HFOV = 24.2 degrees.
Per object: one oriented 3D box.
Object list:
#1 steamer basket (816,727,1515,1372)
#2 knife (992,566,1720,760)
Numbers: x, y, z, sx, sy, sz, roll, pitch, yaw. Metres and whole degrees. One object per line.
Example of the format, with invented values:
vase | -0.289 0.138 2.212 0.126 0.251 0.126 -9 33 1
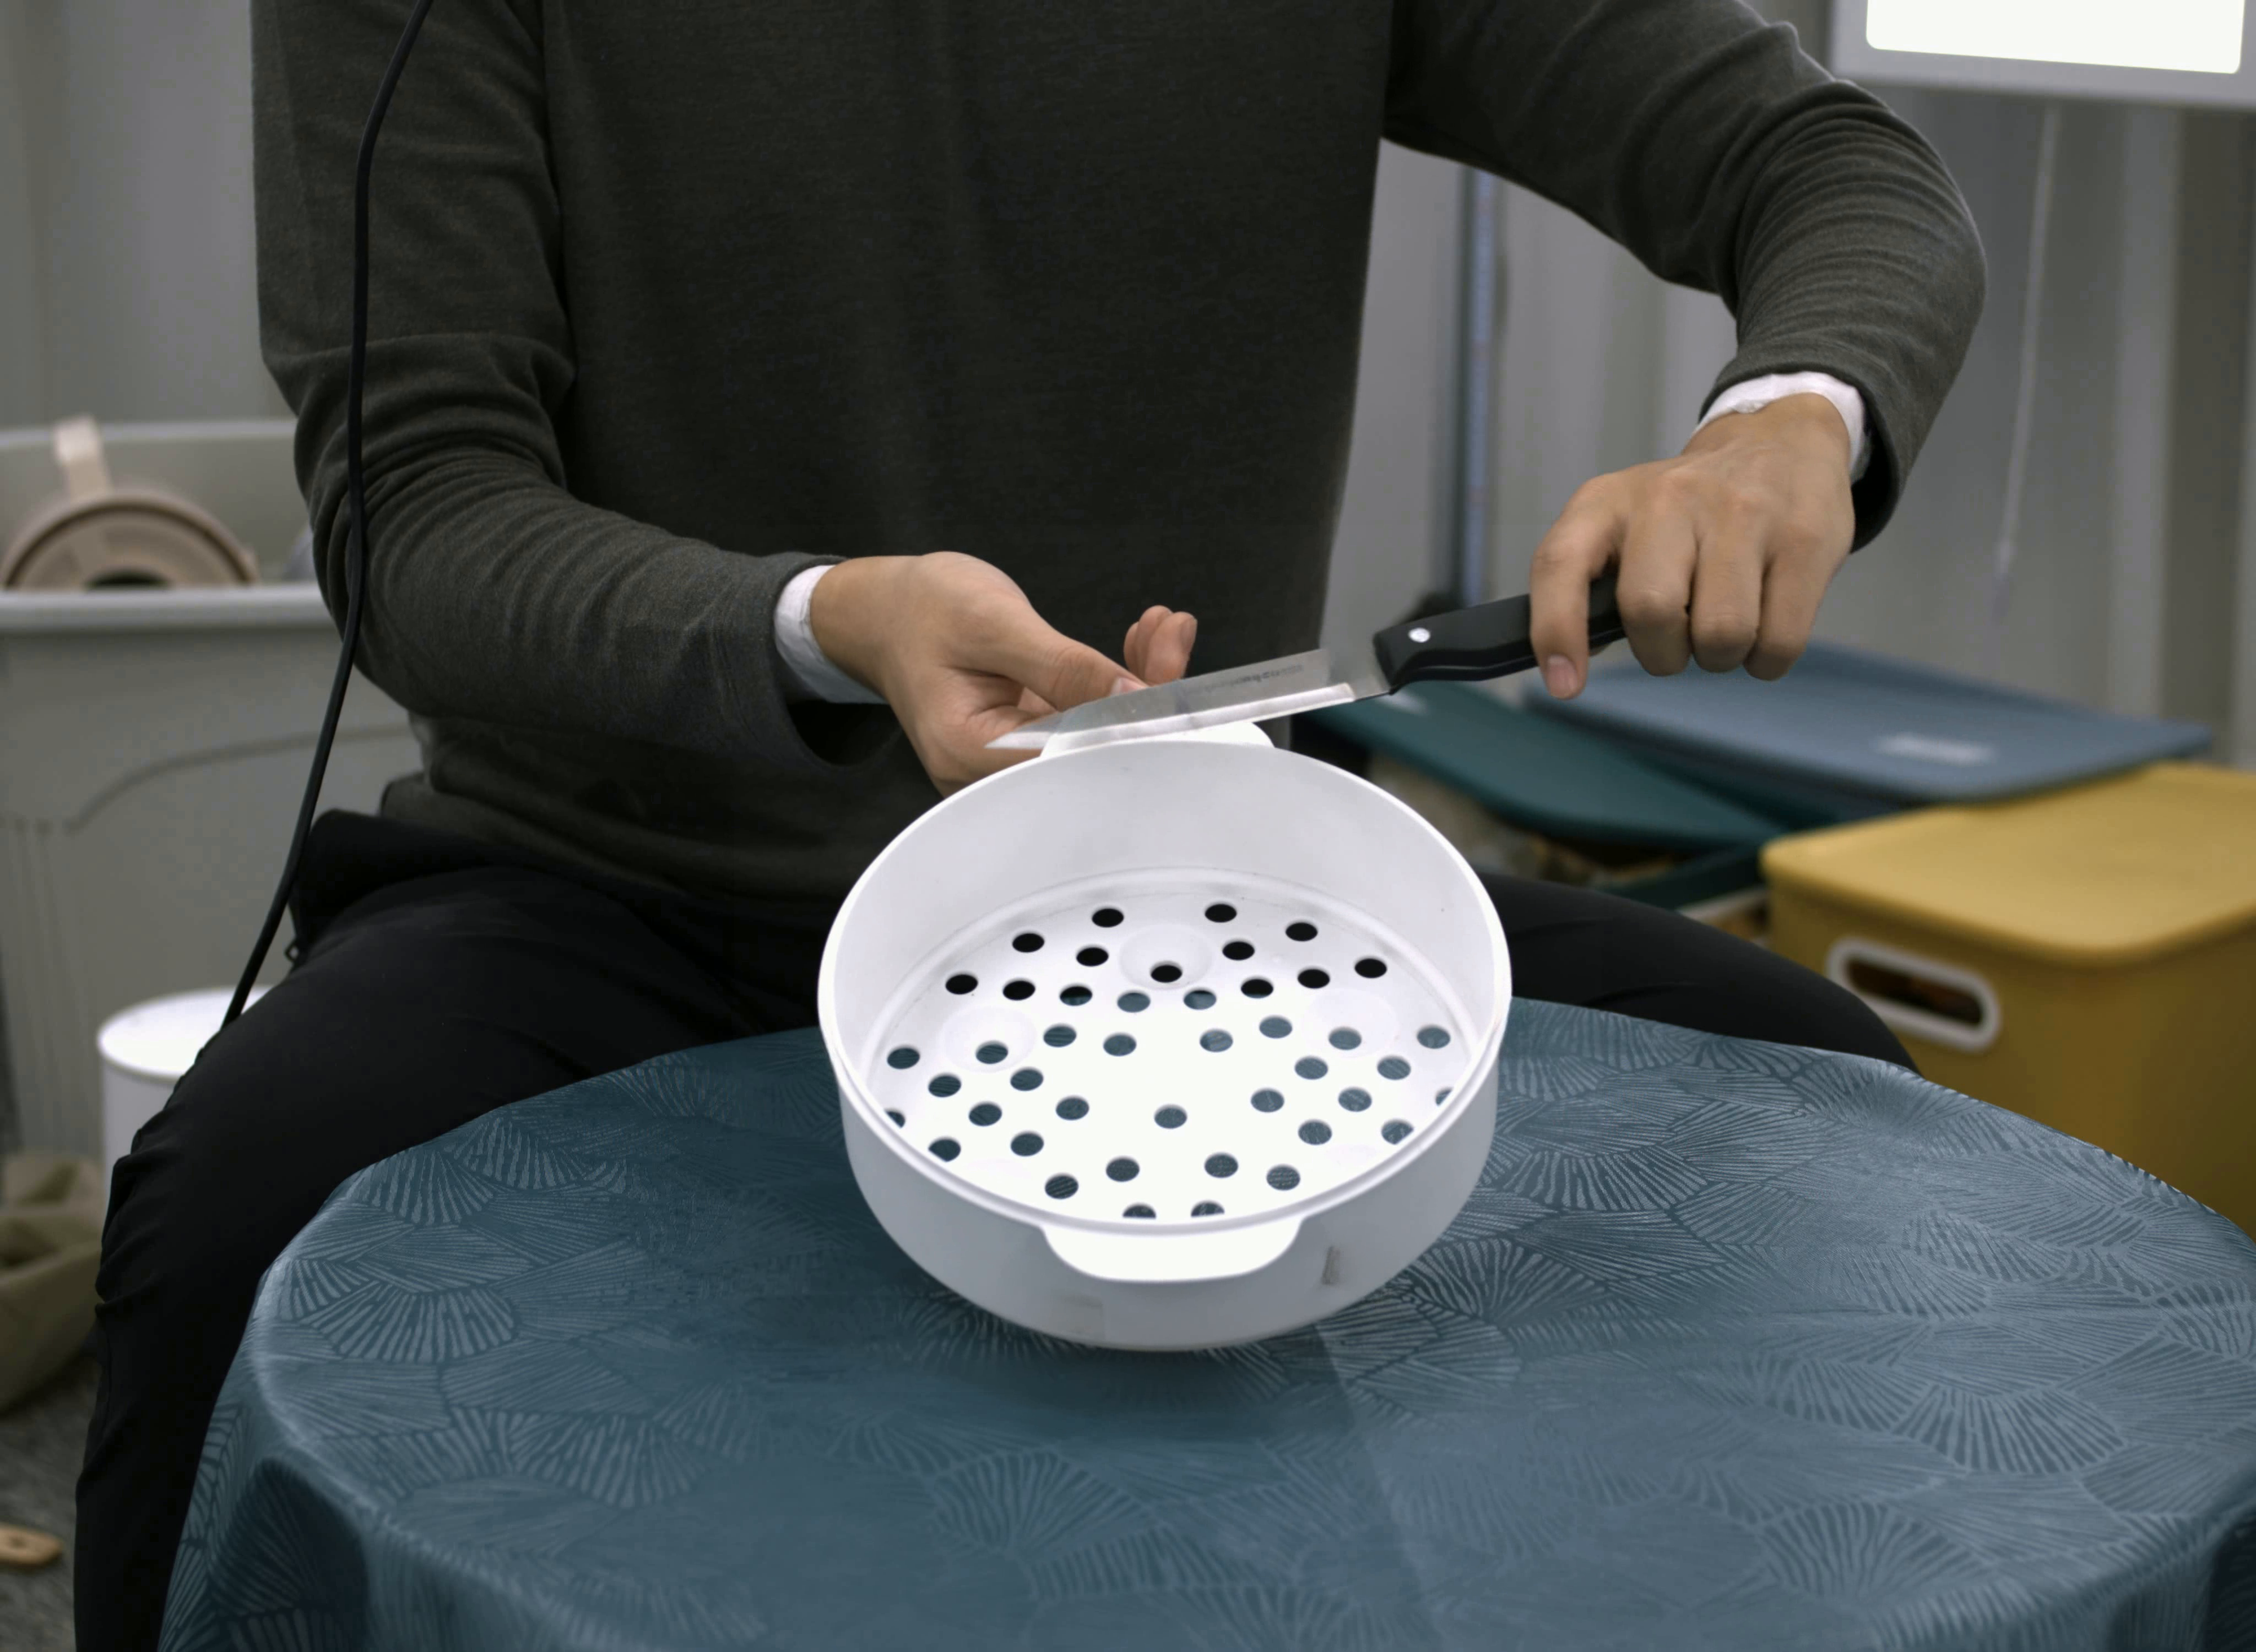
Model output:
steamer basket | 0.012 0.068 1.534 0.201 0.070 0.228 -2 43 0
knife | 0.068 -0.048 1.570 0.238 0.016 0.024 -13 49 -20
